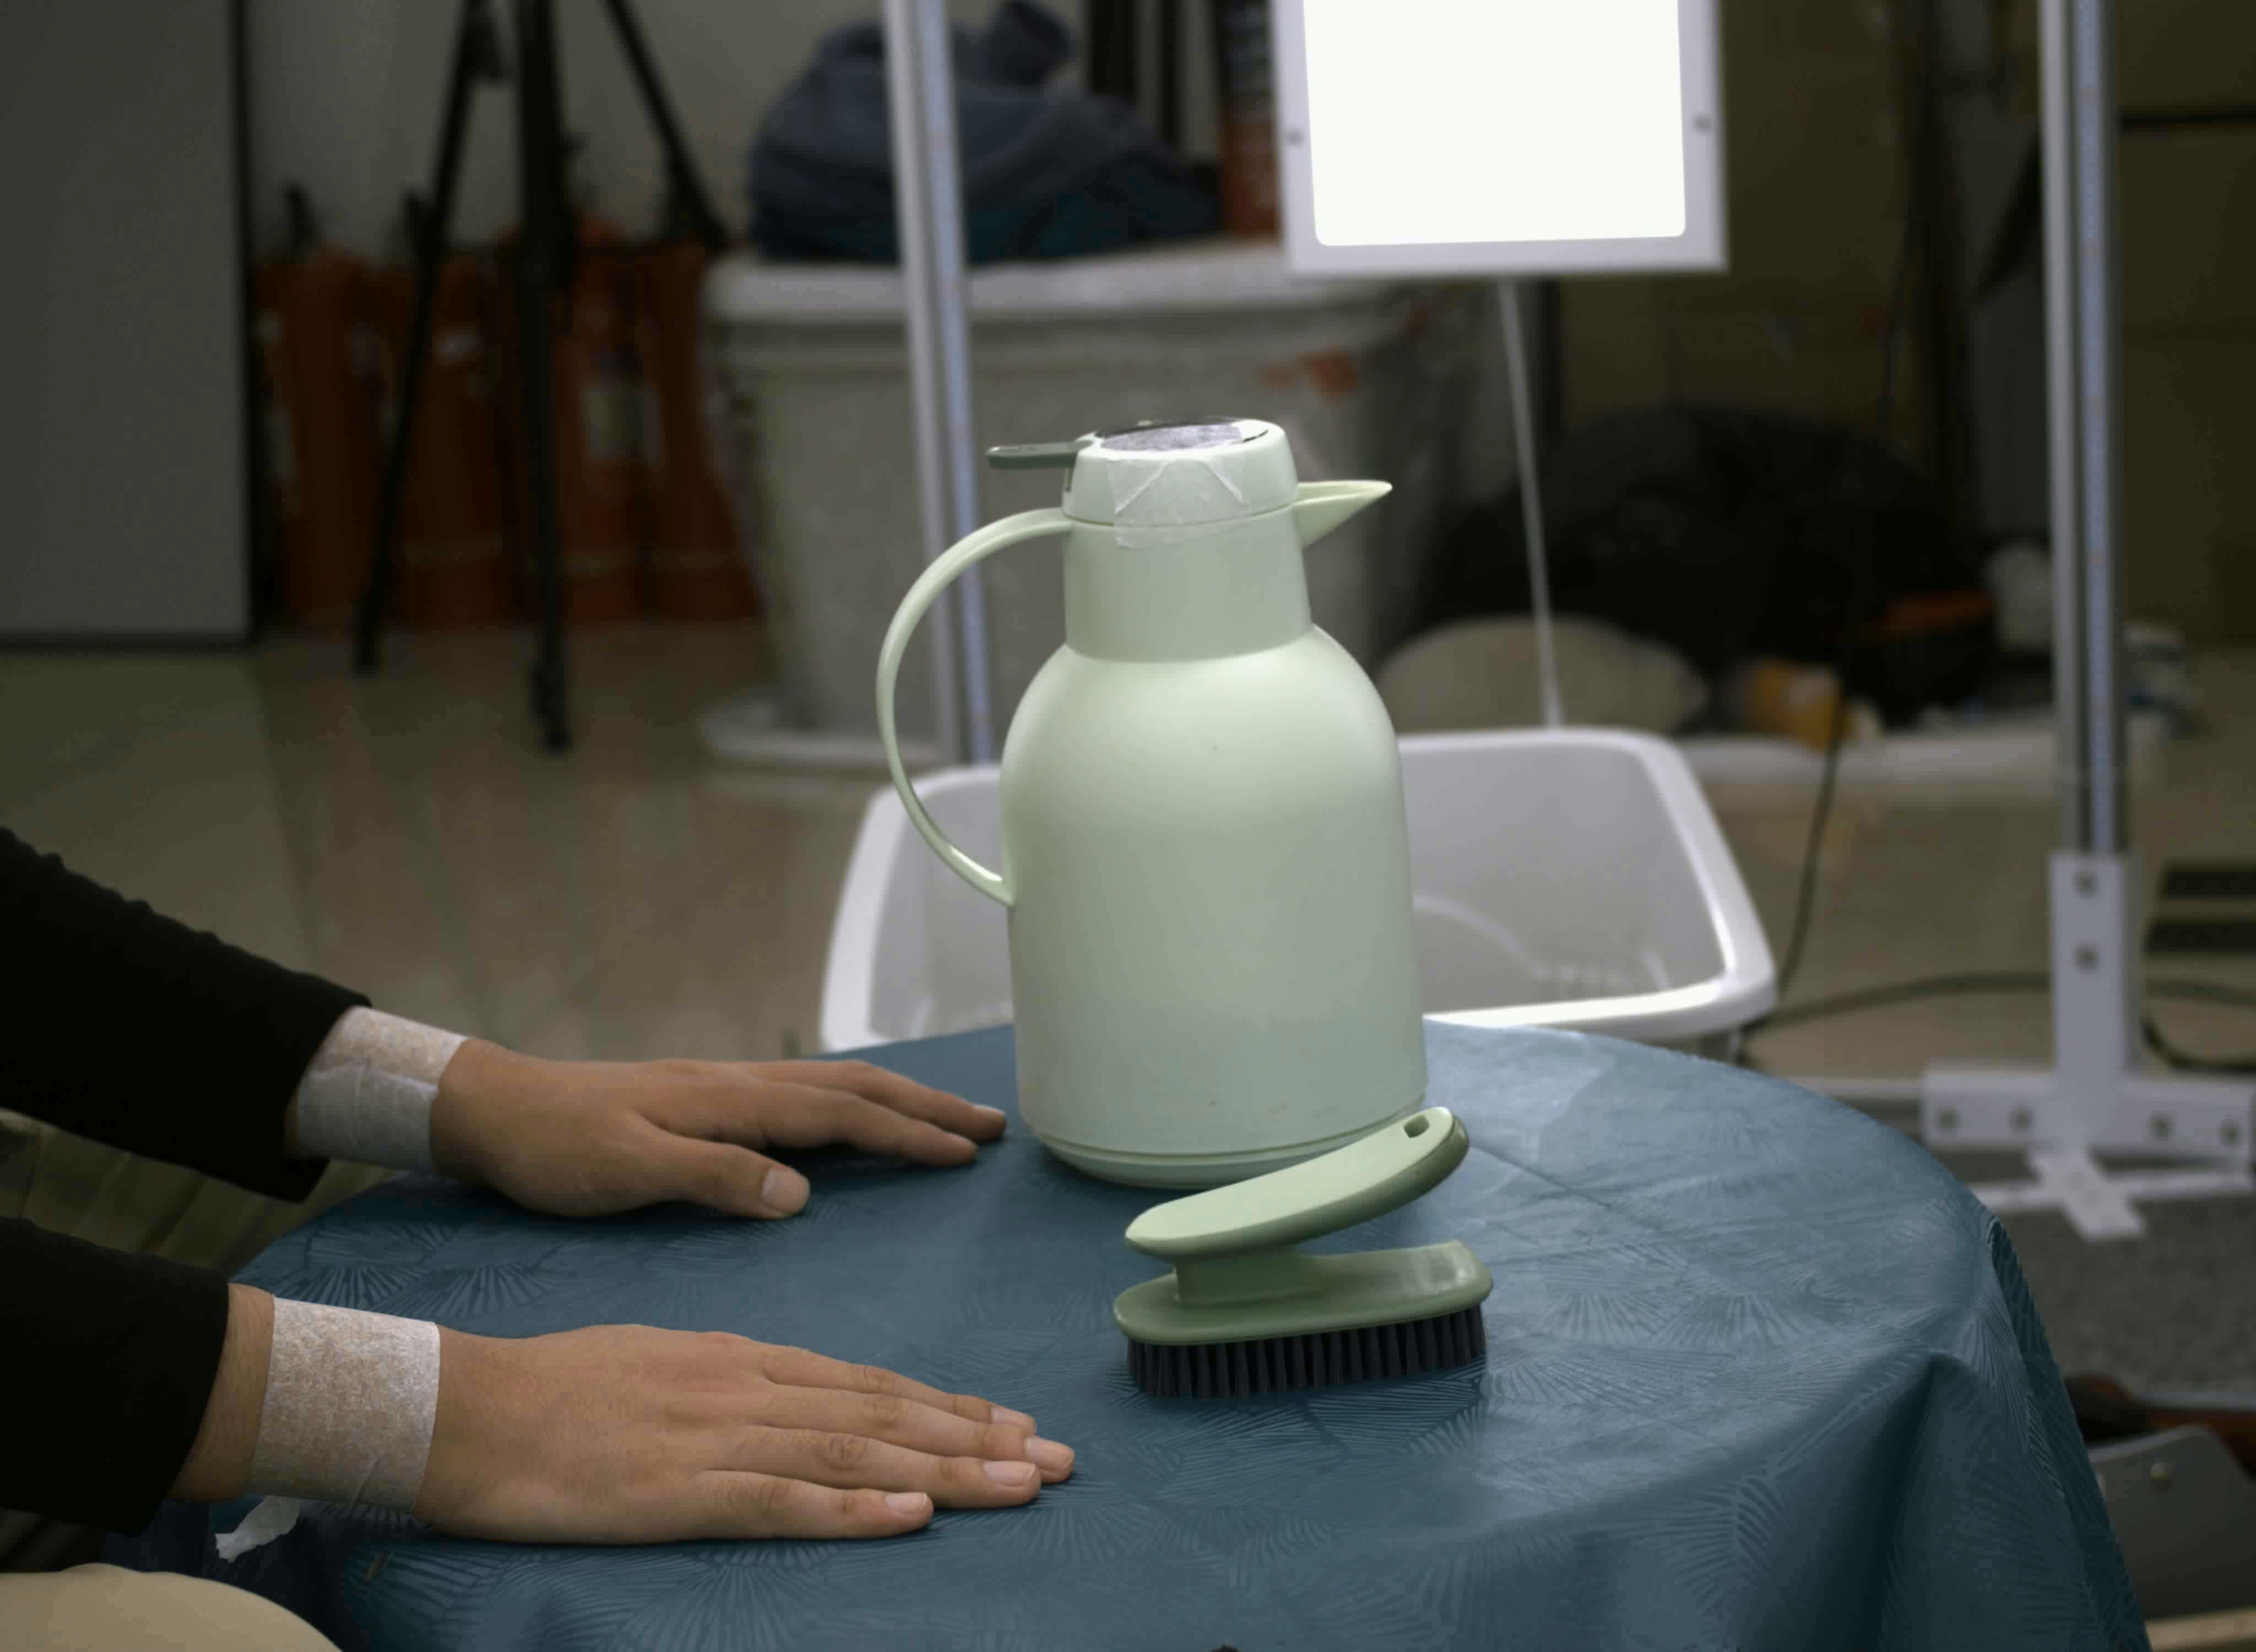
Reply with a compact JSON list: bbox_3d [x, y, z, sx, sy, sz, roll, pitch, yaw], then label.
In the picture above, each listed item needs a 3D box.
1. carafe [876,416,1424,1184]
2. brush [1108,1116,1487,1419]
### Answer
[{"bbox_3d":[0.010,-0.011,1.915,0.186,0.257,0.144,-8,13,-3],"label":"carafe"},{"bbox_3d":[0.054,0.145,1.711,0.123,0.076,0.059,-22,15,4],"label":"brush"}]
